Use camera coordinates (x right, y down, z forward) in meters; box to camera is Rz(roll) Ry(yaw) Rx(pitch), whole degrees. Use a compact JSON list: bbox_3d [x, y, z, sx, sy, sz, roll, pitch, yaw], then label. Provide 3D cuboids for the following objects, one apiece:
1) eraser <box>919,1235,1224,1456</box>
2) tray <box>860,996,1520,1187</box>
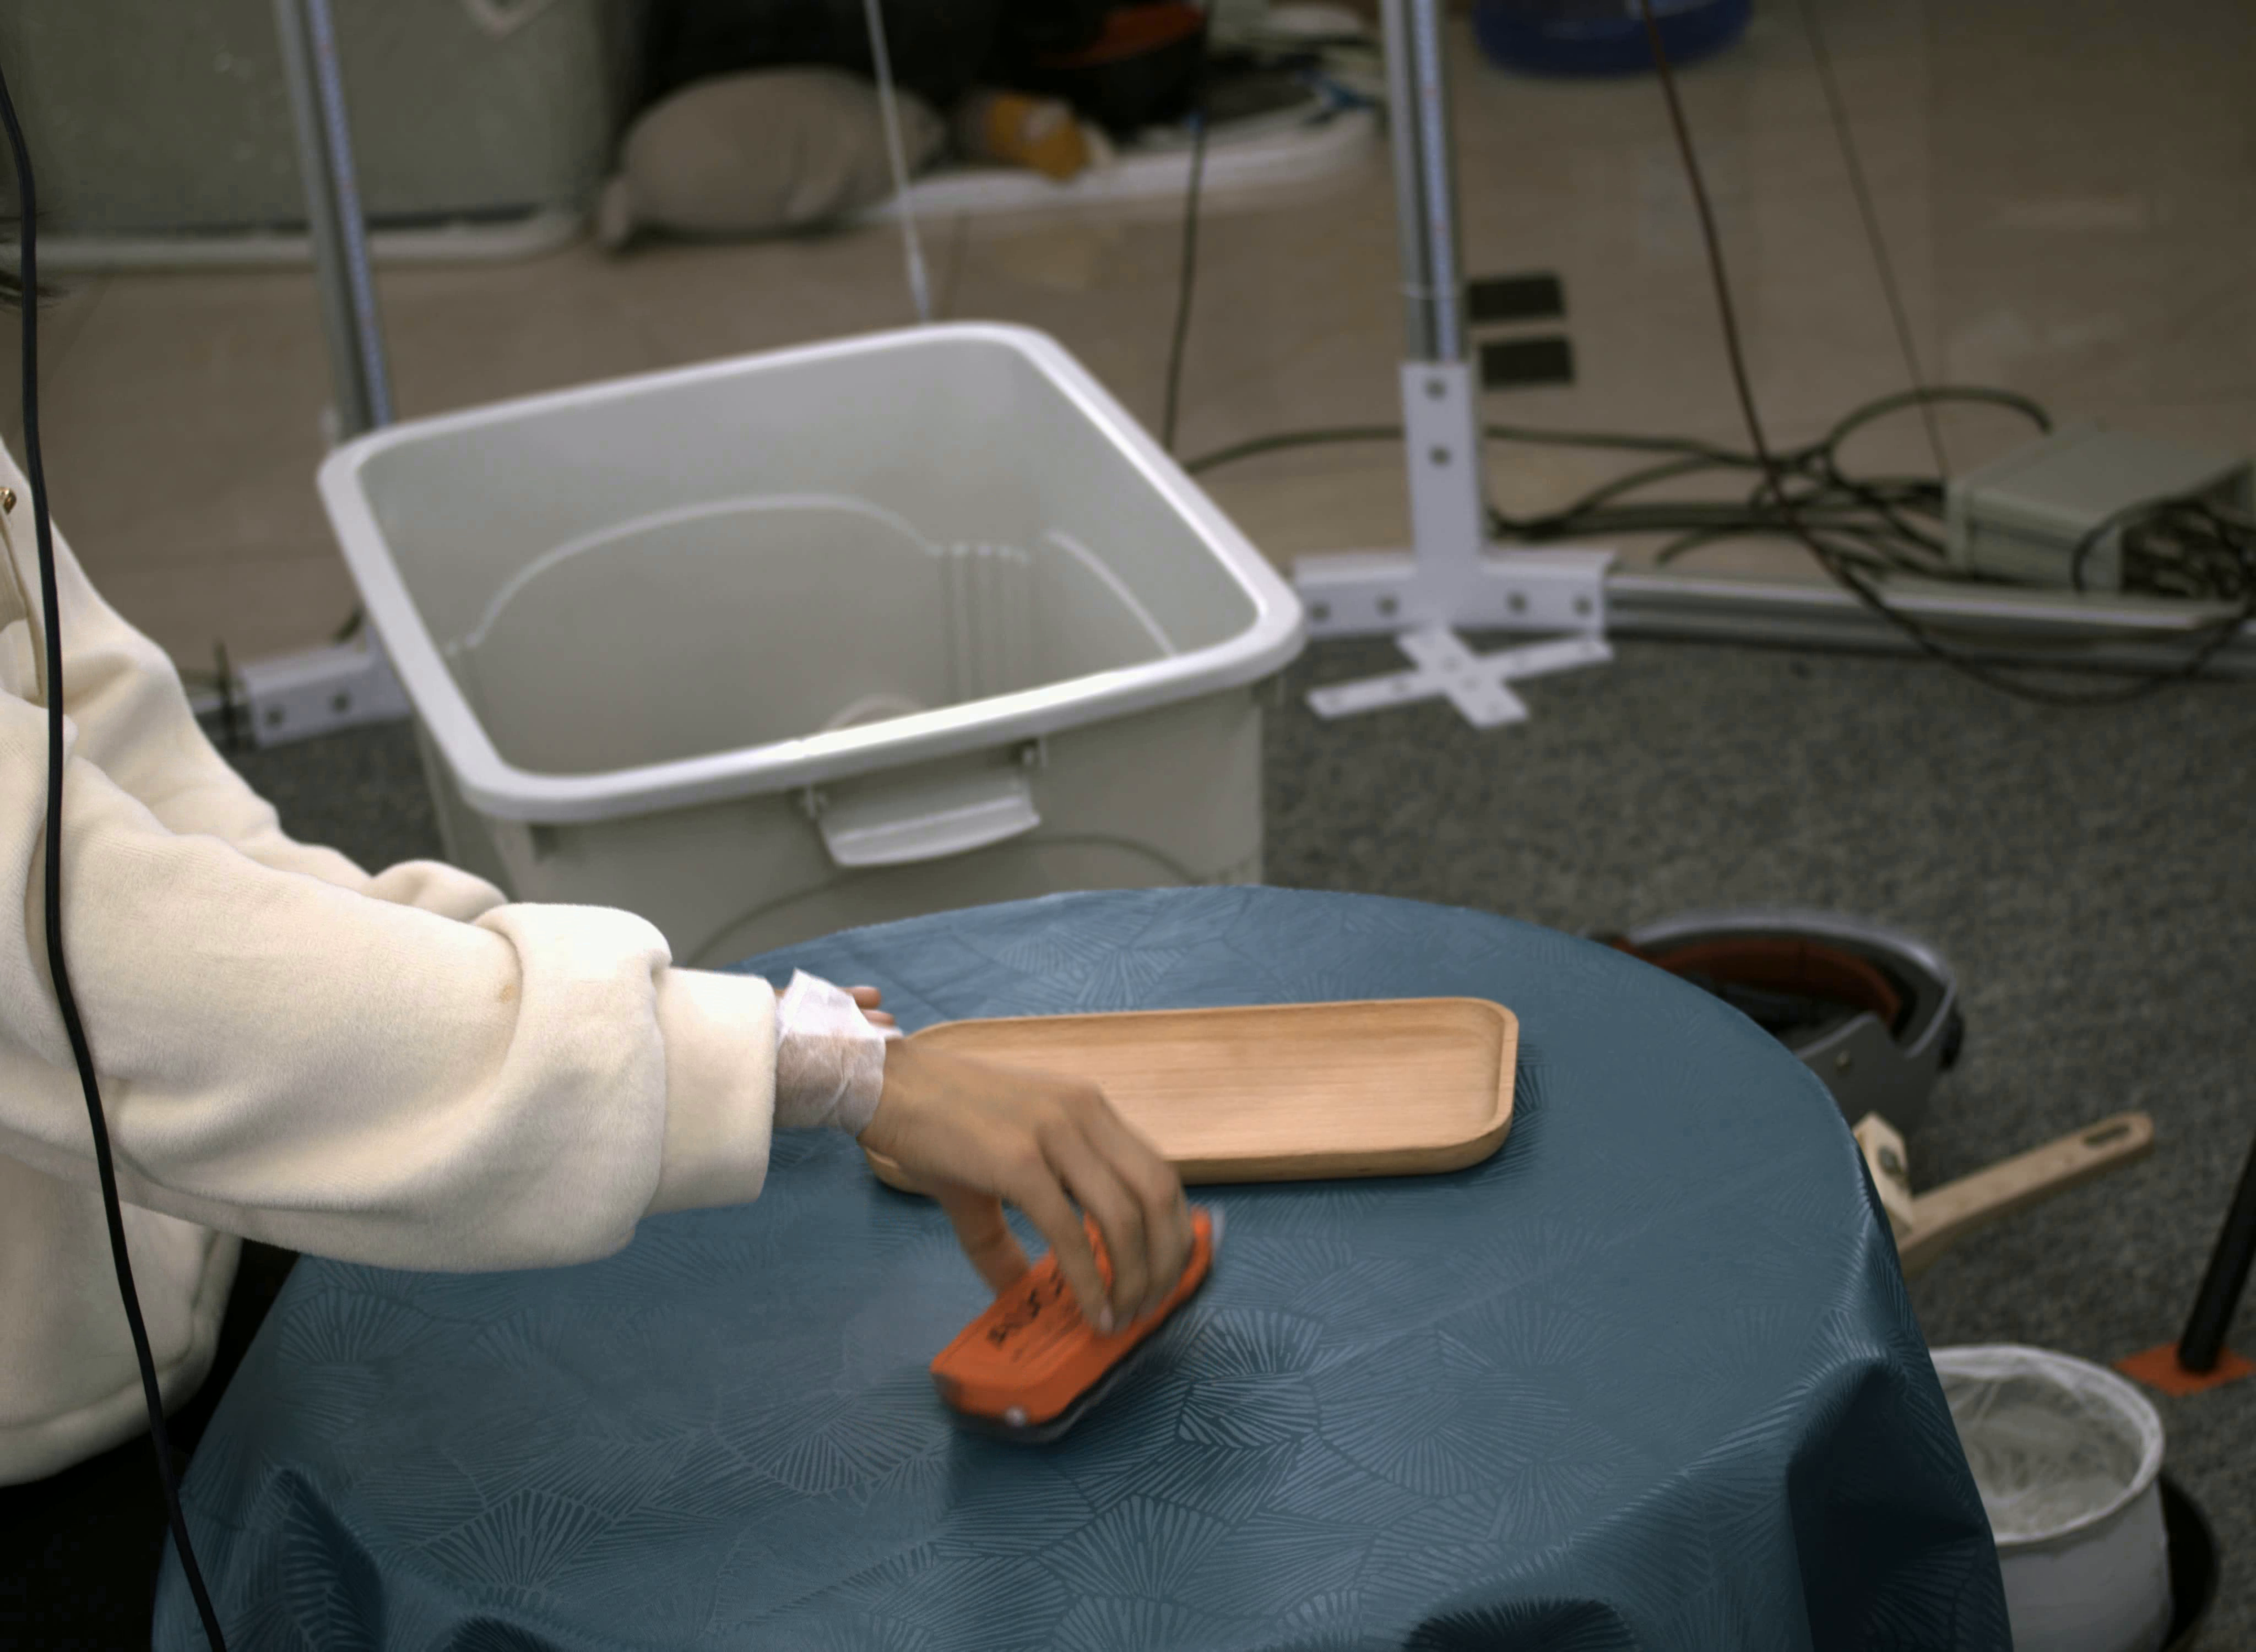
[{"bbox_3d":[-0.020,0.183,2.009,0.058,0.023,0.107,9,34,44],"label":"eraser"},{"bbox_3d":[0.025,0.103,2.197,0.250,0.023,0.129,-2,22,9],"label":"tray"}]
